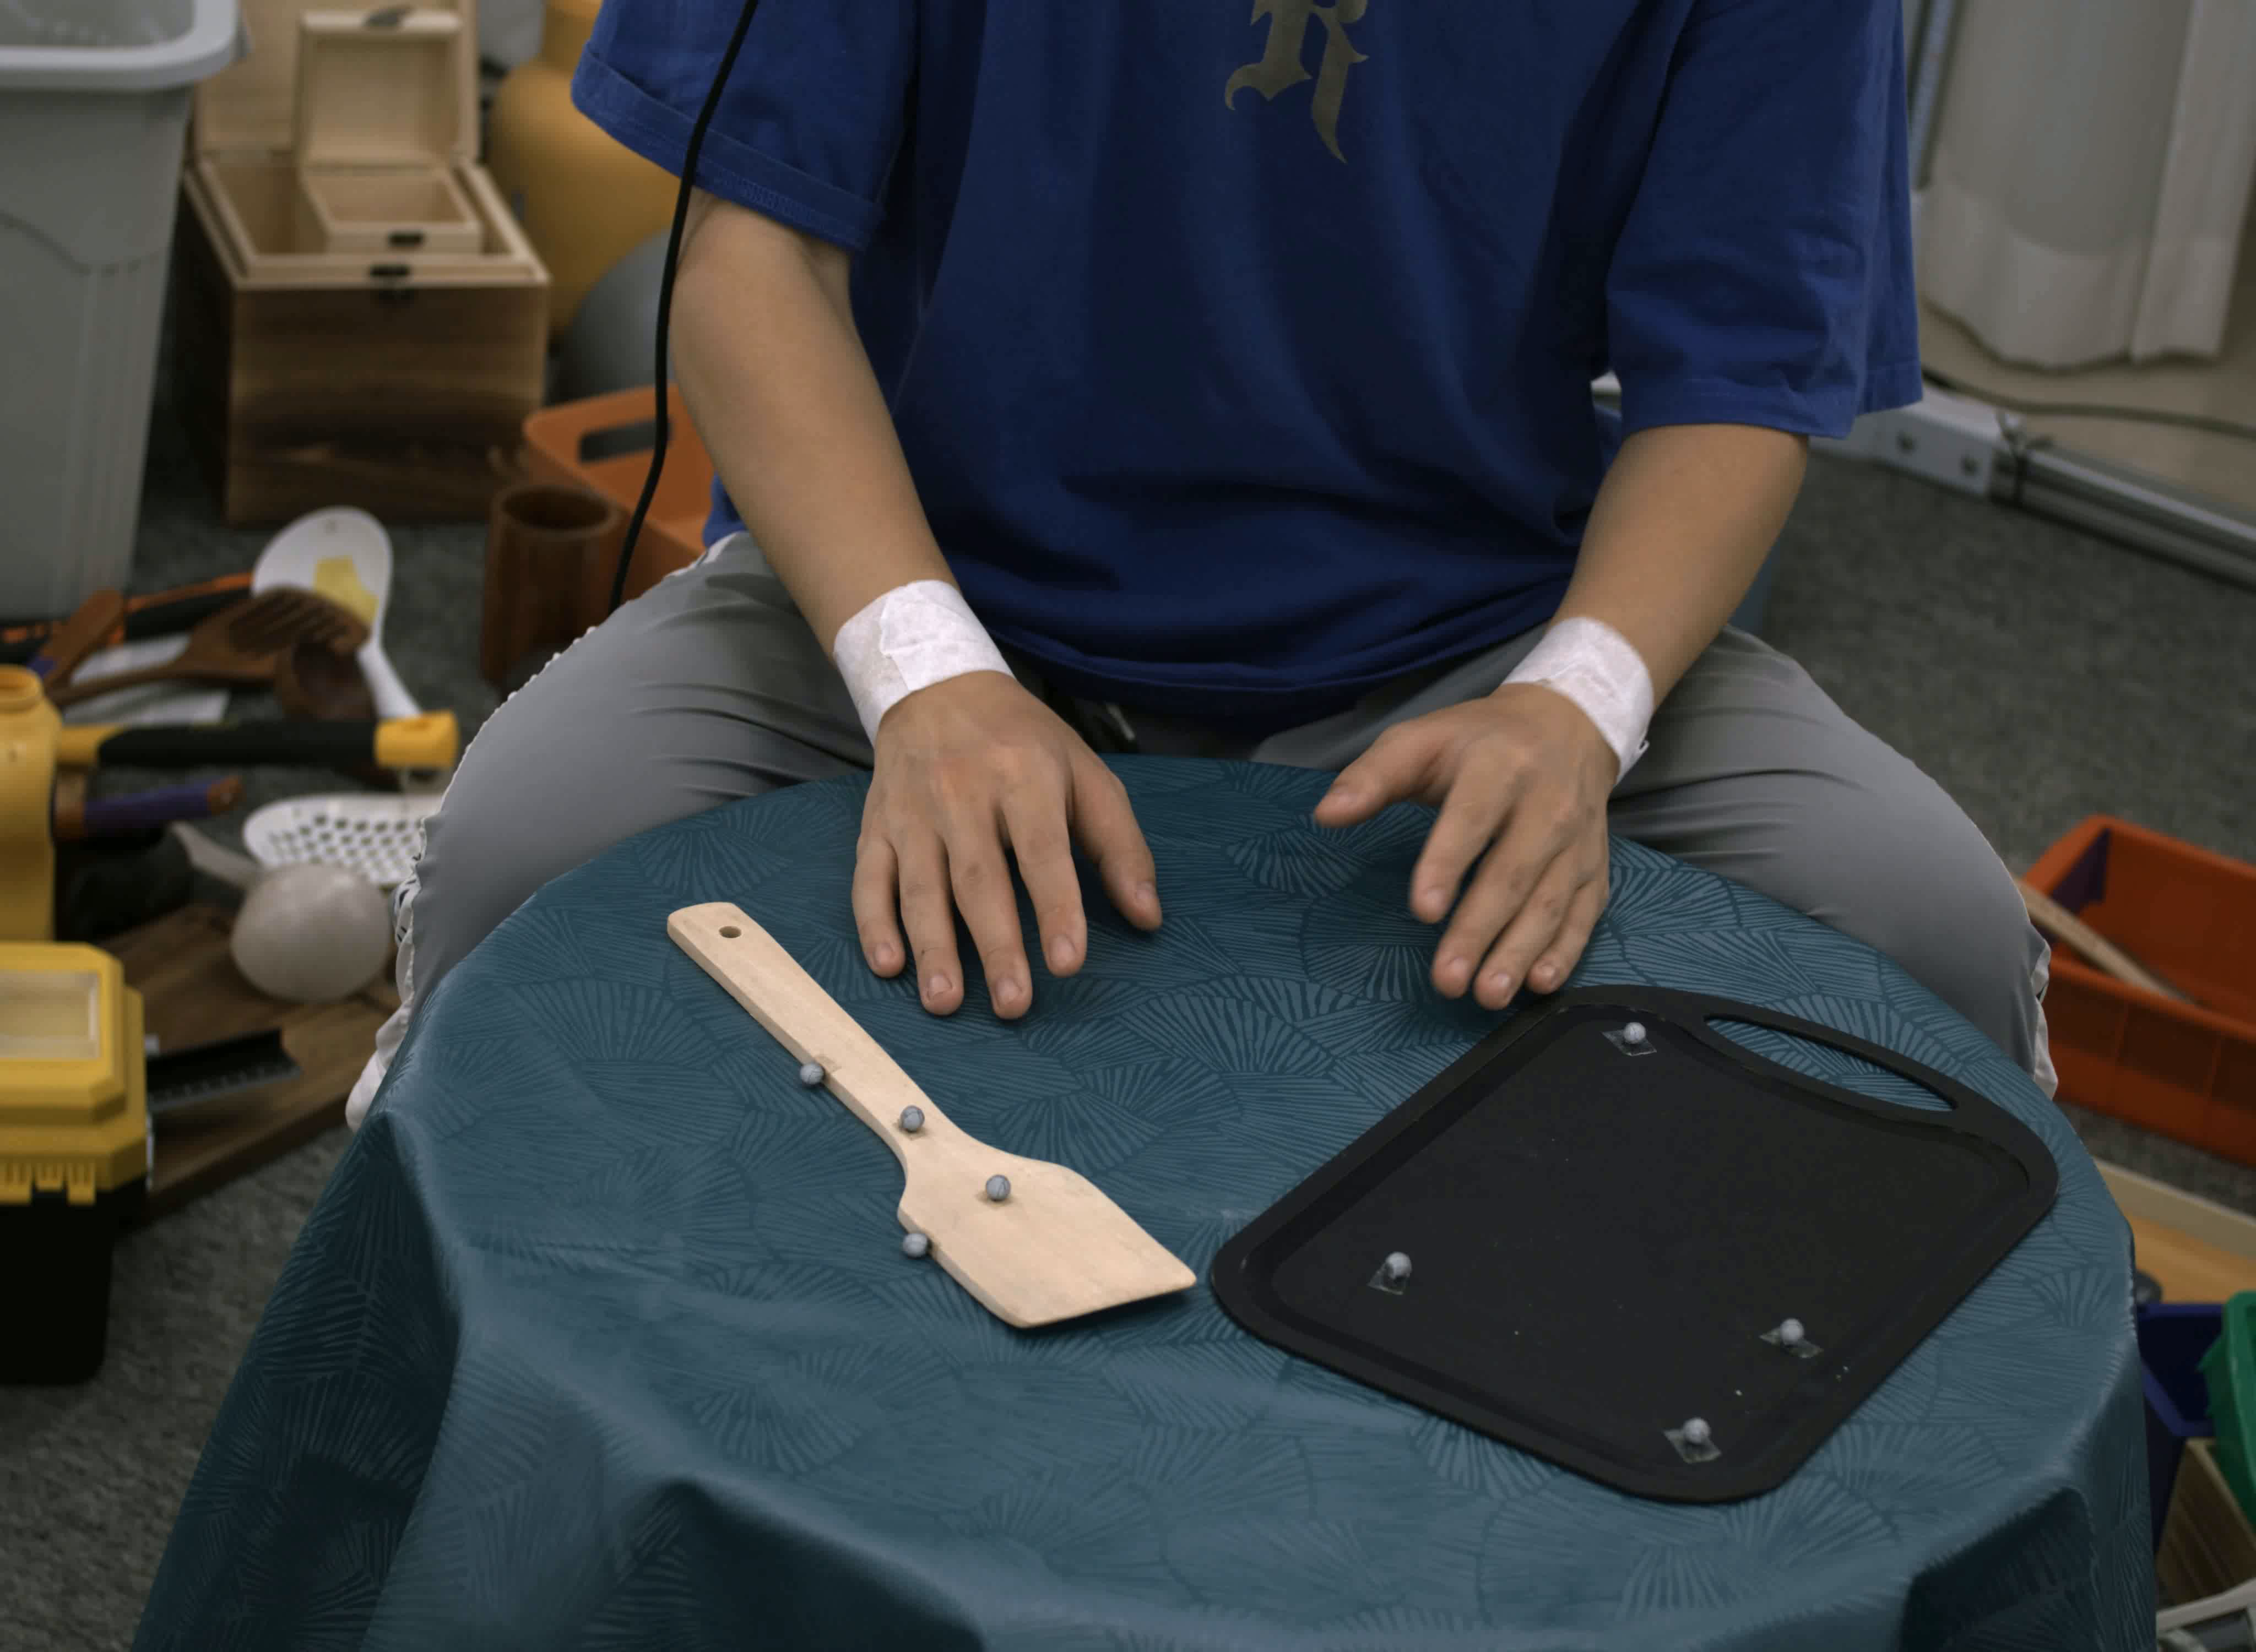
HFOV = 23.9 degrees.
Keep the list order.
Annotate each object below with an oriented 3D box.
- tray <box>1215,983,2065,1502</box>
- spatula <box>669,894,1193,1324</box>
[{"bbox_3d":[0.183,0.131,1.823,0.212,0.010,0.324,21,30,26],"label":"tray"},{"bbox_3d":[-0.083,0.093,1.835,0.072,0.010,0.295,-12,32,-30],"label":"spatula"}]
